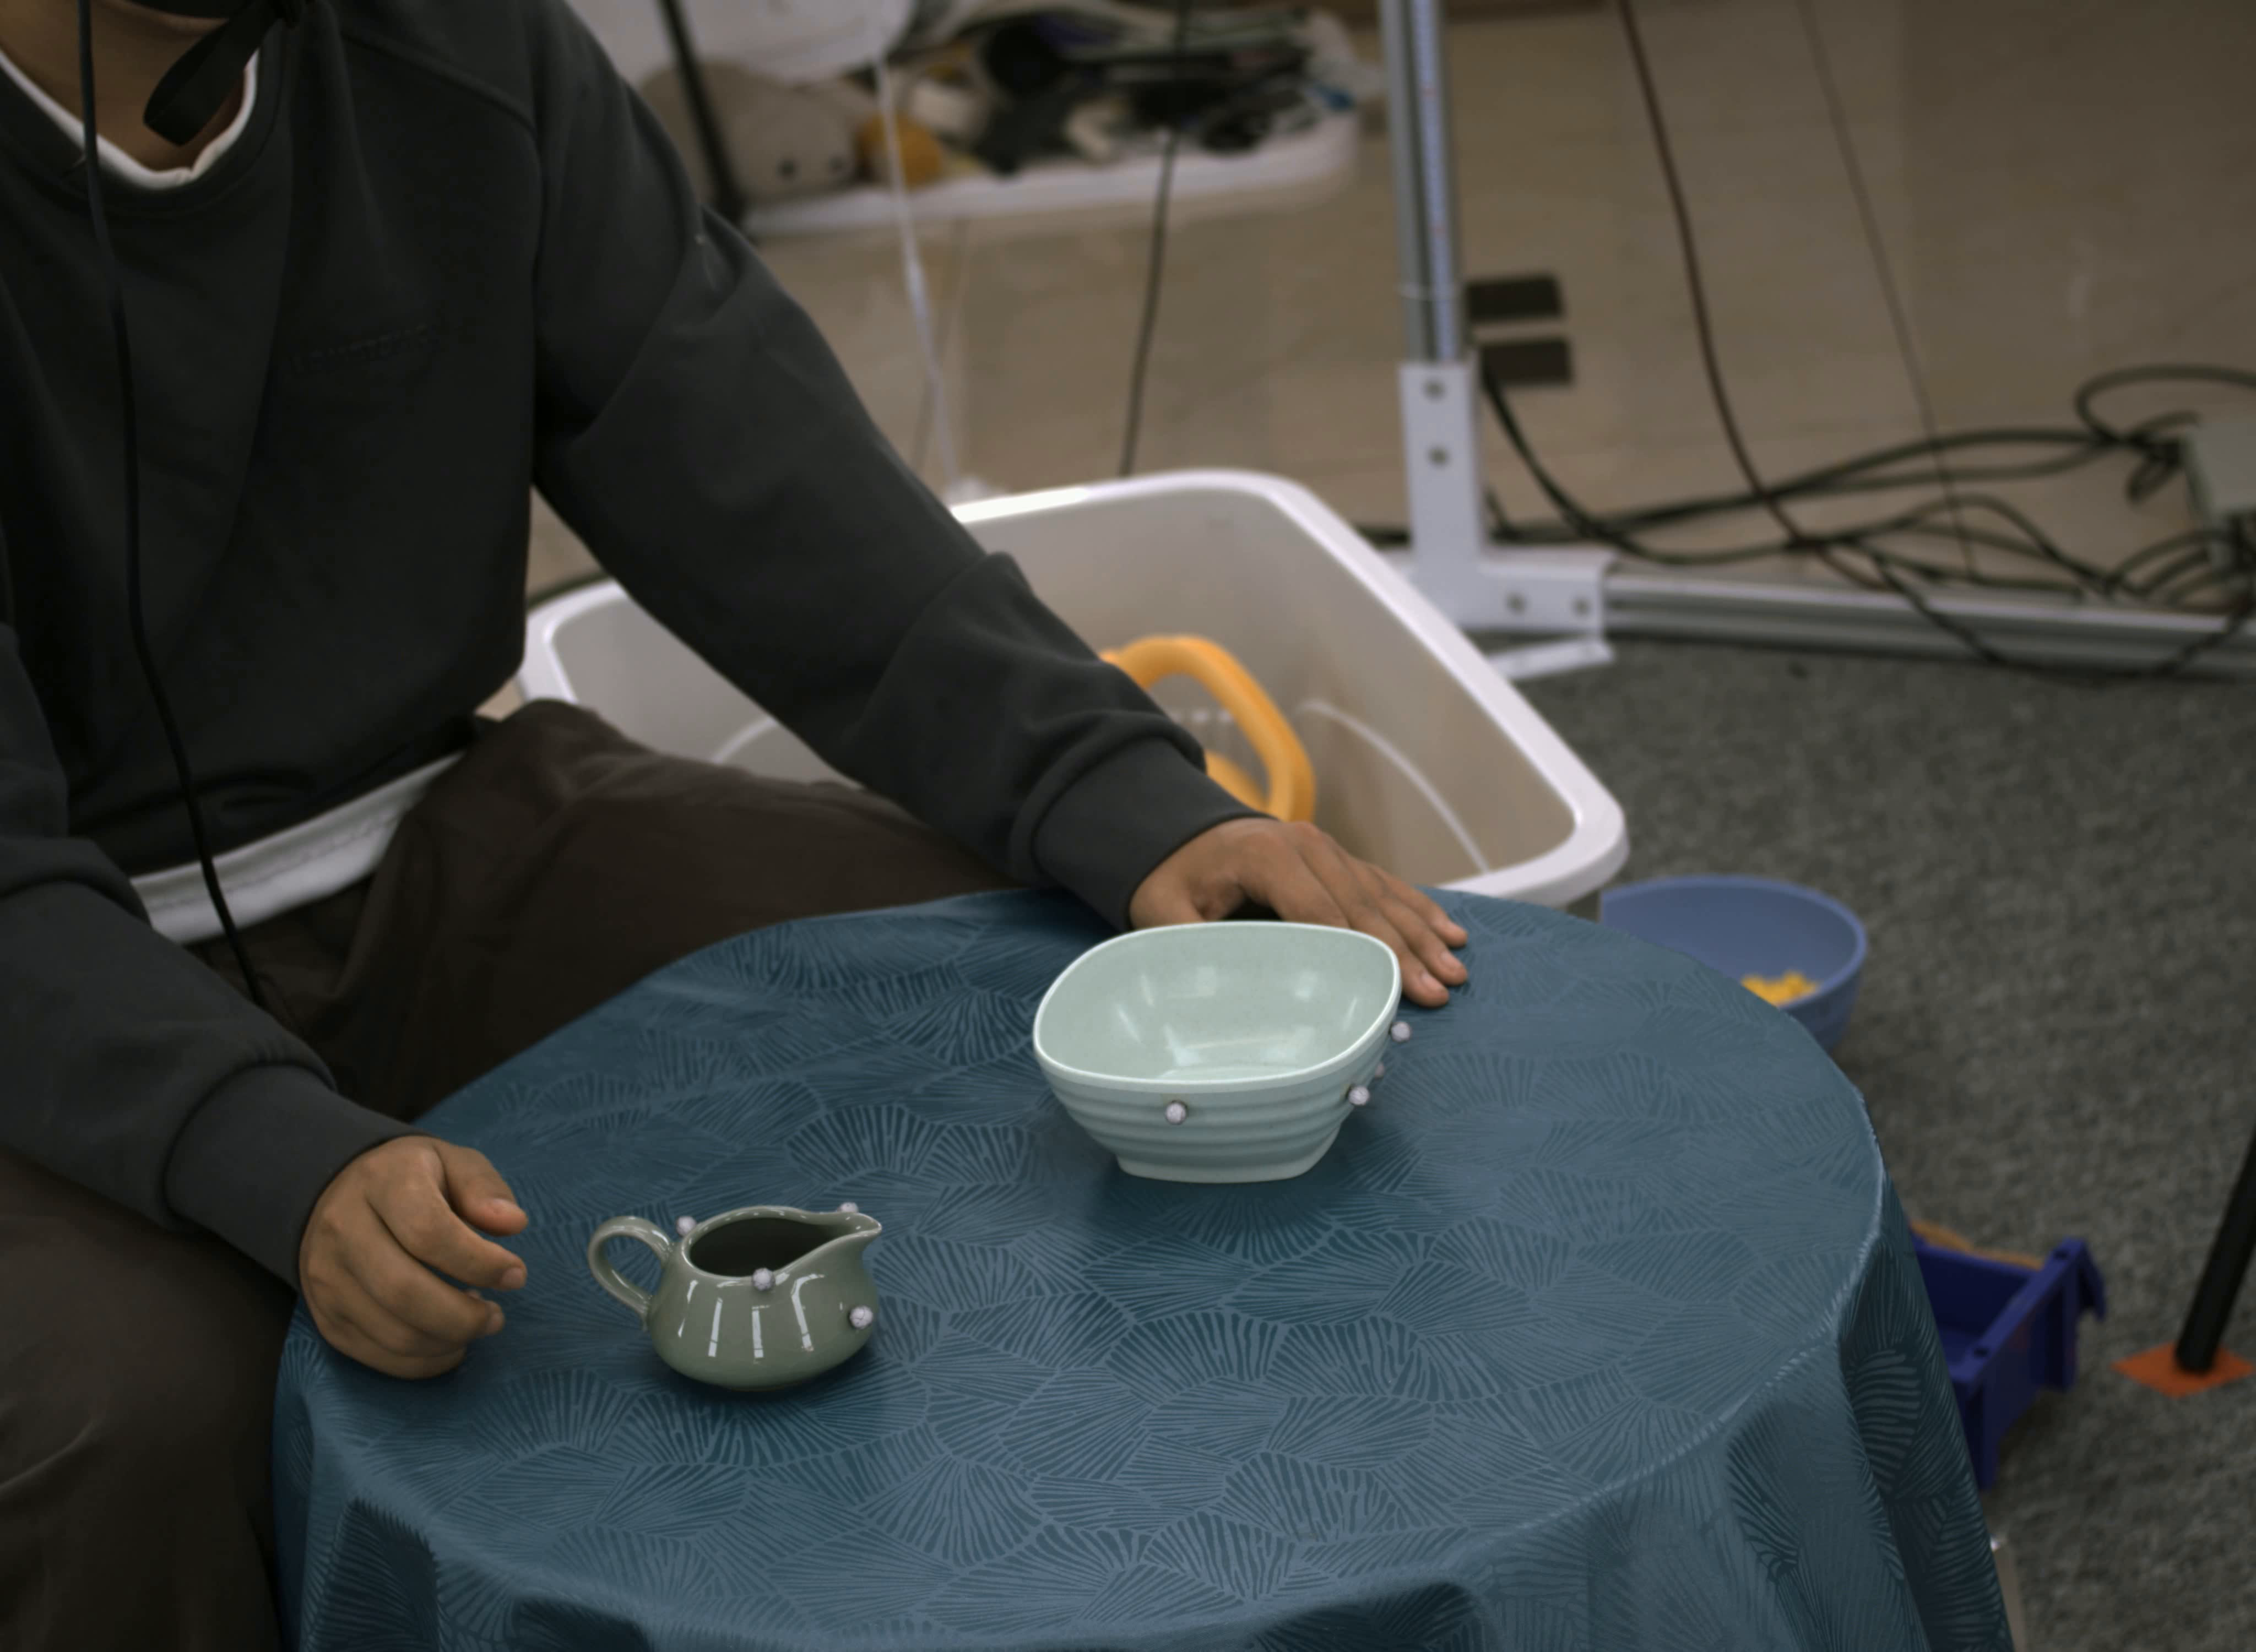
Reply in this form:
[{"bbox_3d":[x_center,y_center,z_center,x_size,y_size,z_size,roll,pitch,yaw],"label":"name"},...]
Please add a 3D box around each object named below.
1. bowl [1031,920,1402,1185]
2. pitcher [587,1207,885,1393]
[{"bbox_3d":[0.036,0.092,2.174,0.151,0.059,0.149,-4,26,2],"label":"bowl"},{"bbox_3d":[-0.139,0.168,2.053,0.112,0.057,0.083,-2,25,12],"label":"pitcher"}]
